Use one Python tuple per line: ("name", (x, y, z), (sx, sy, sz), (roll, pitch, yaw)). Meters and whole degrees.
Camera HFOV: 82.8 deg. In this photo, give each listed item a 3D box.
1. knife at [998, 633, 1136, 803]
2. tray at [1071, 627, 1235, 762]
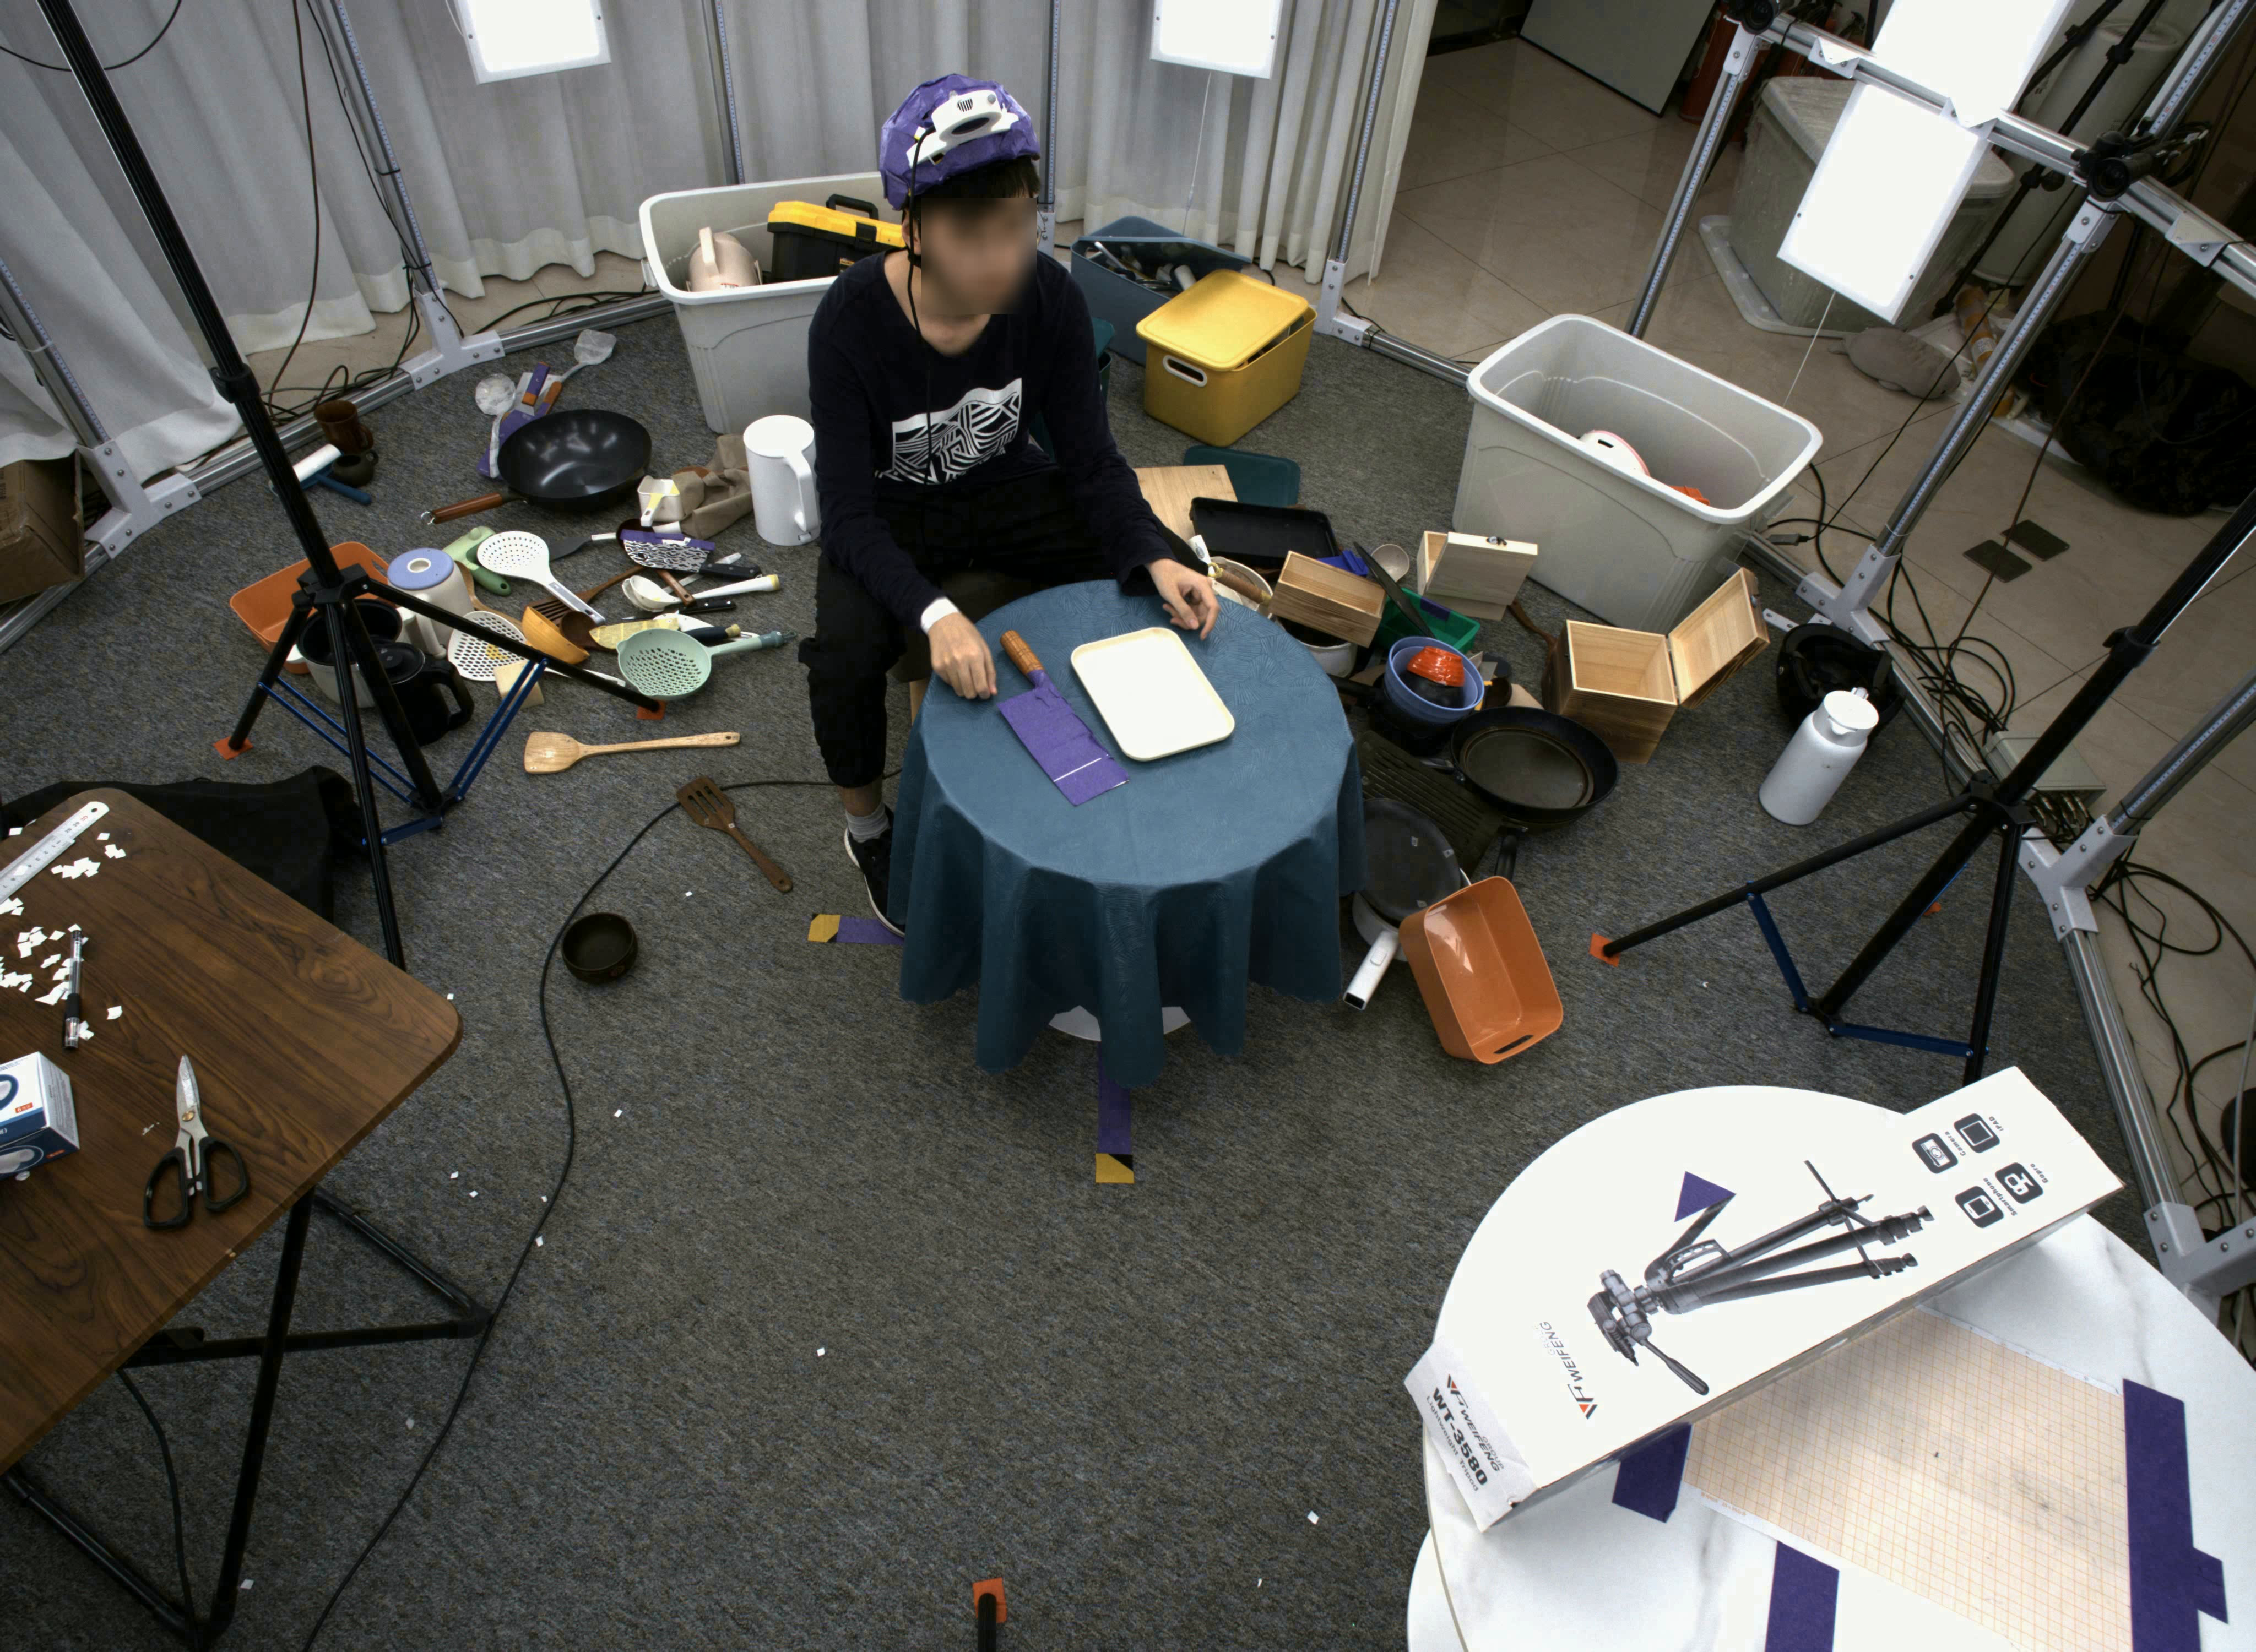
("knife", (-0.115, -0.154, 1.776), (0.104, 0.031, 0.321), (-24, 55, -23))
("tray", (0.033, -0.189, 1.822), (0.171, 0.017, 0.245), (-16, 52, -17))
